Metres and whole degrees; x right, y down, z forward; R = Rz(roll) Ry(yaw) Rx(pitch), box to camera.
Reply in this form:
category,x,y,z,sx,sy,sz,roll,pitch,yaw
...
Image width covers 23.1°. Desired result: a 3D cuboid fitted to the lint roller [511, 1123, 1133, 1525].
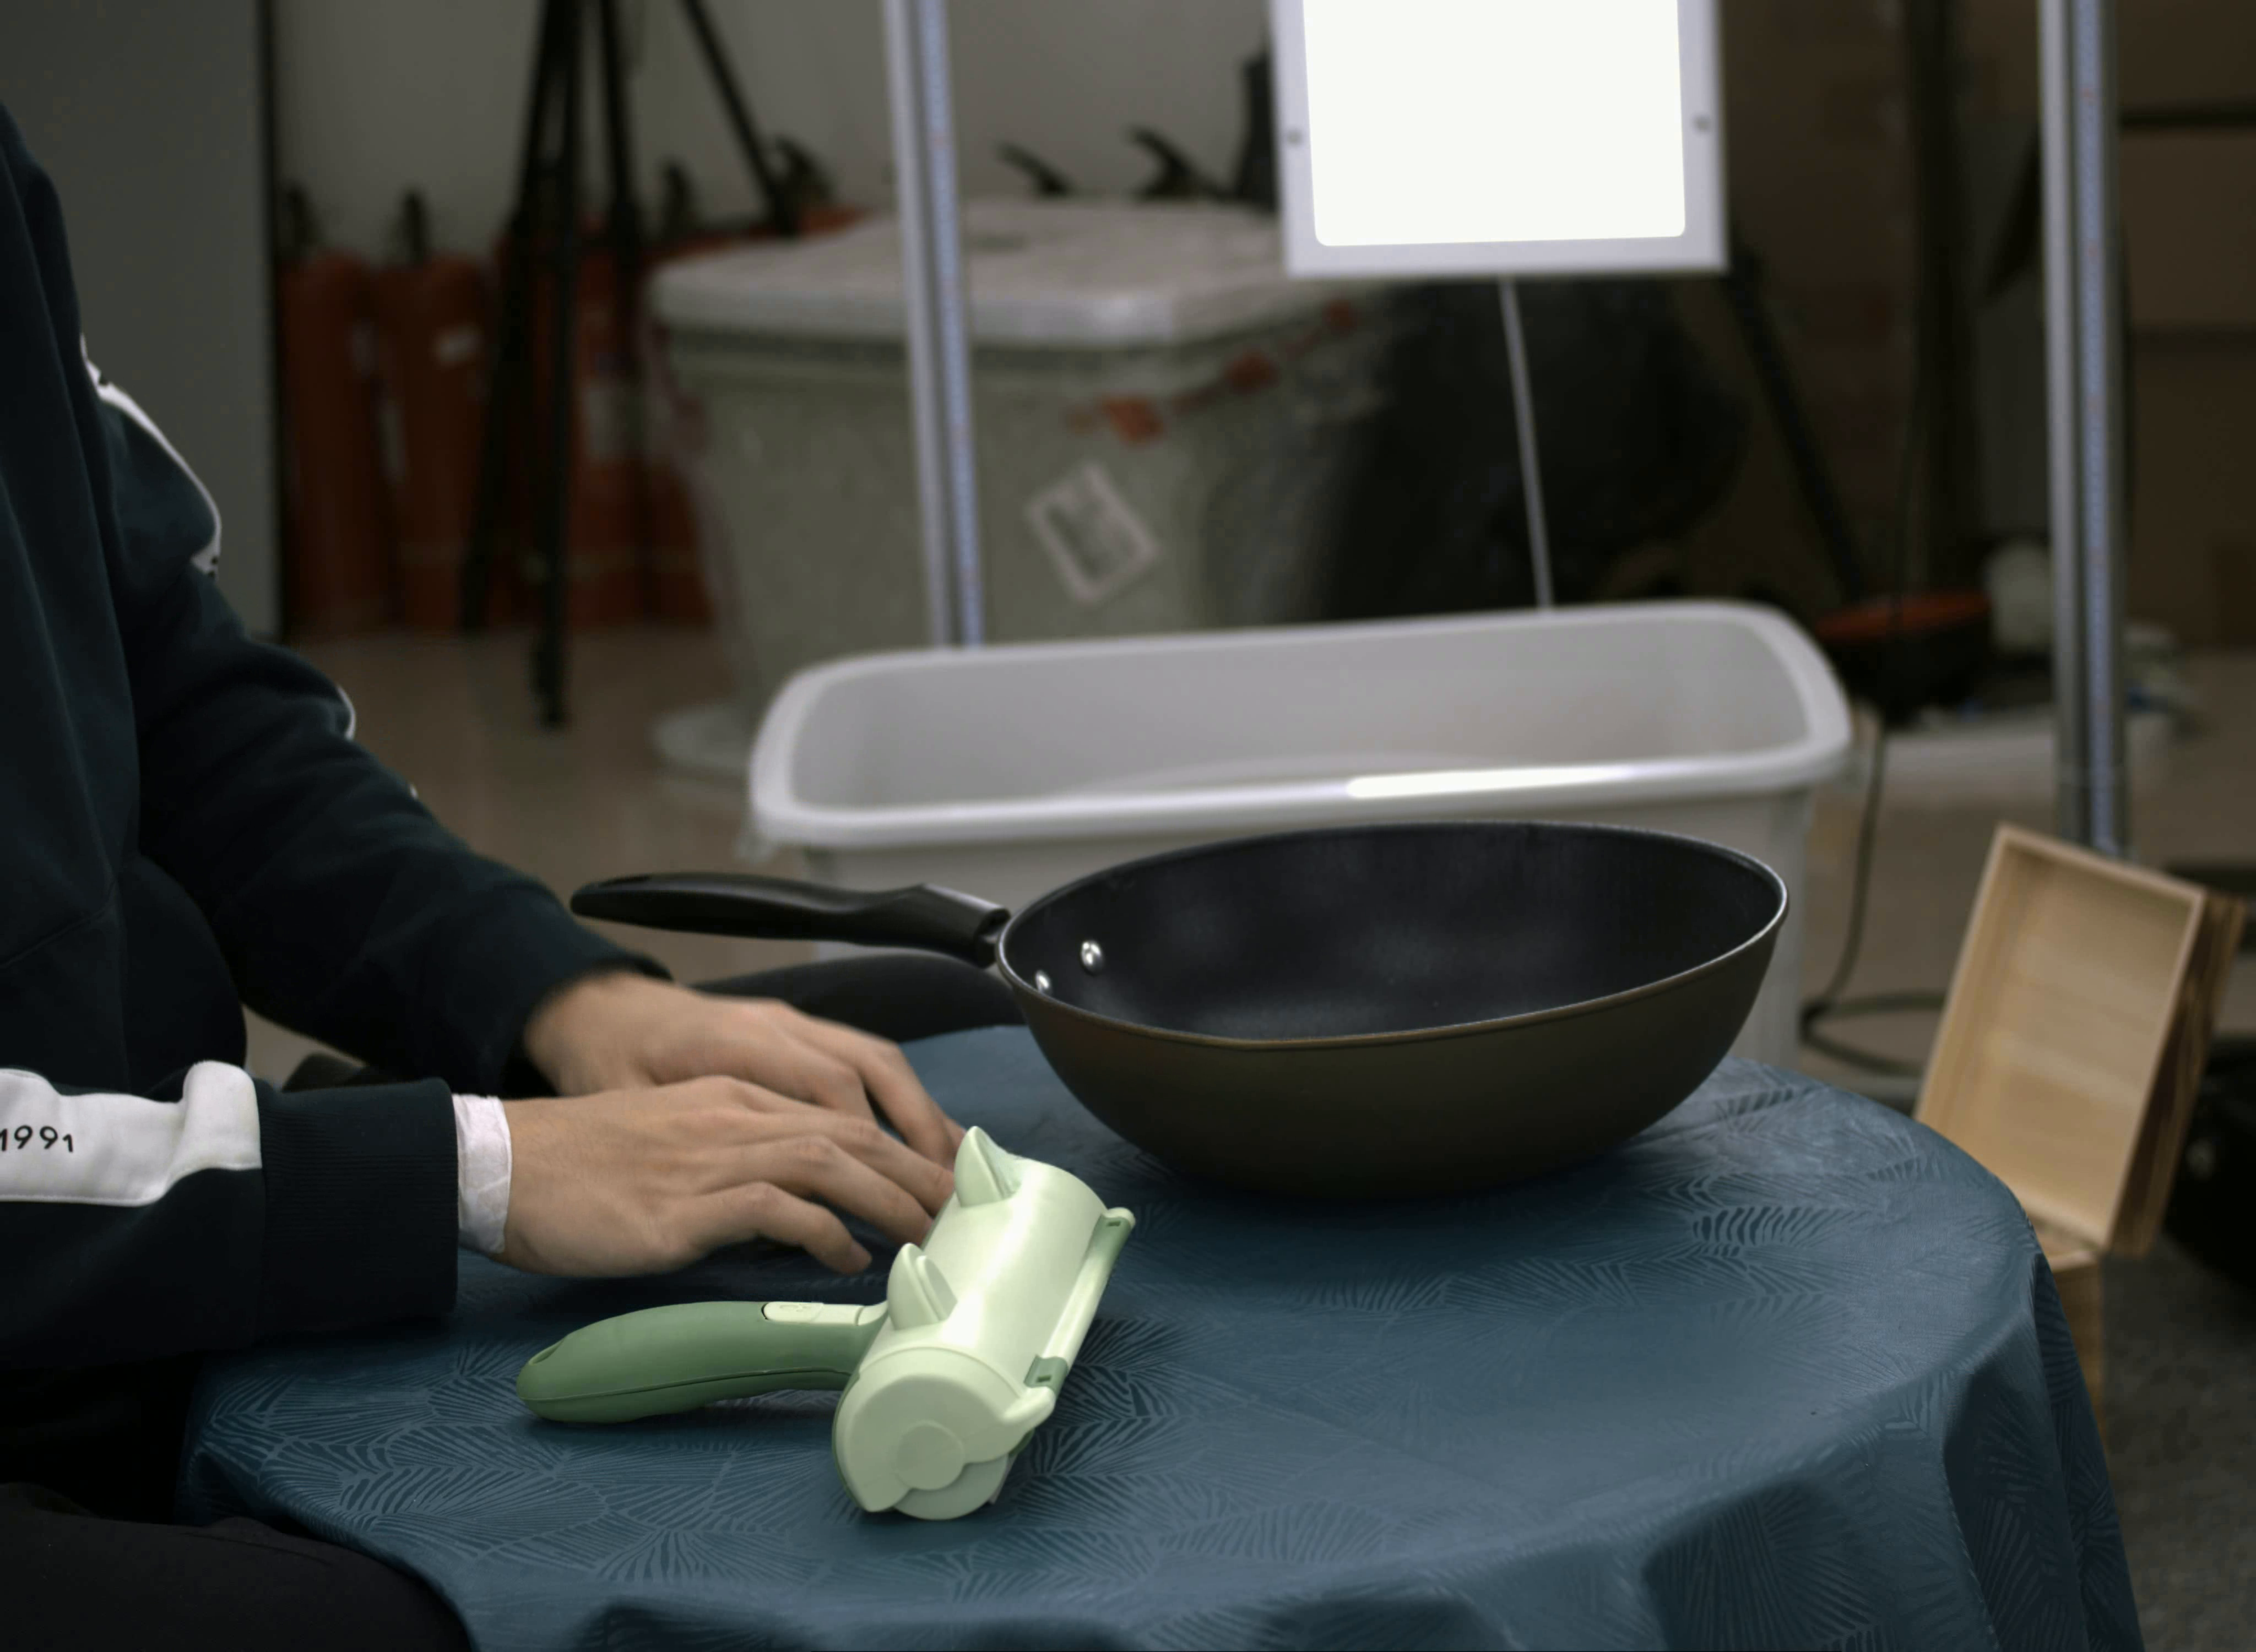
category,x,y,z,sx,sy,sz,roll,pitch,yaw
lint roller,-0.101,0.146,1.695,0.184,0.082,0.196,3,15,9

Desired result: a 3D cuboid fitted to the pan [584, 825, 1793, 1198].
category,x,y,z,sx,sy,sz,roll,pitch,yaw
pan,0.012,0.068,1.957,0.471,0.087,0.282,0,14,26
